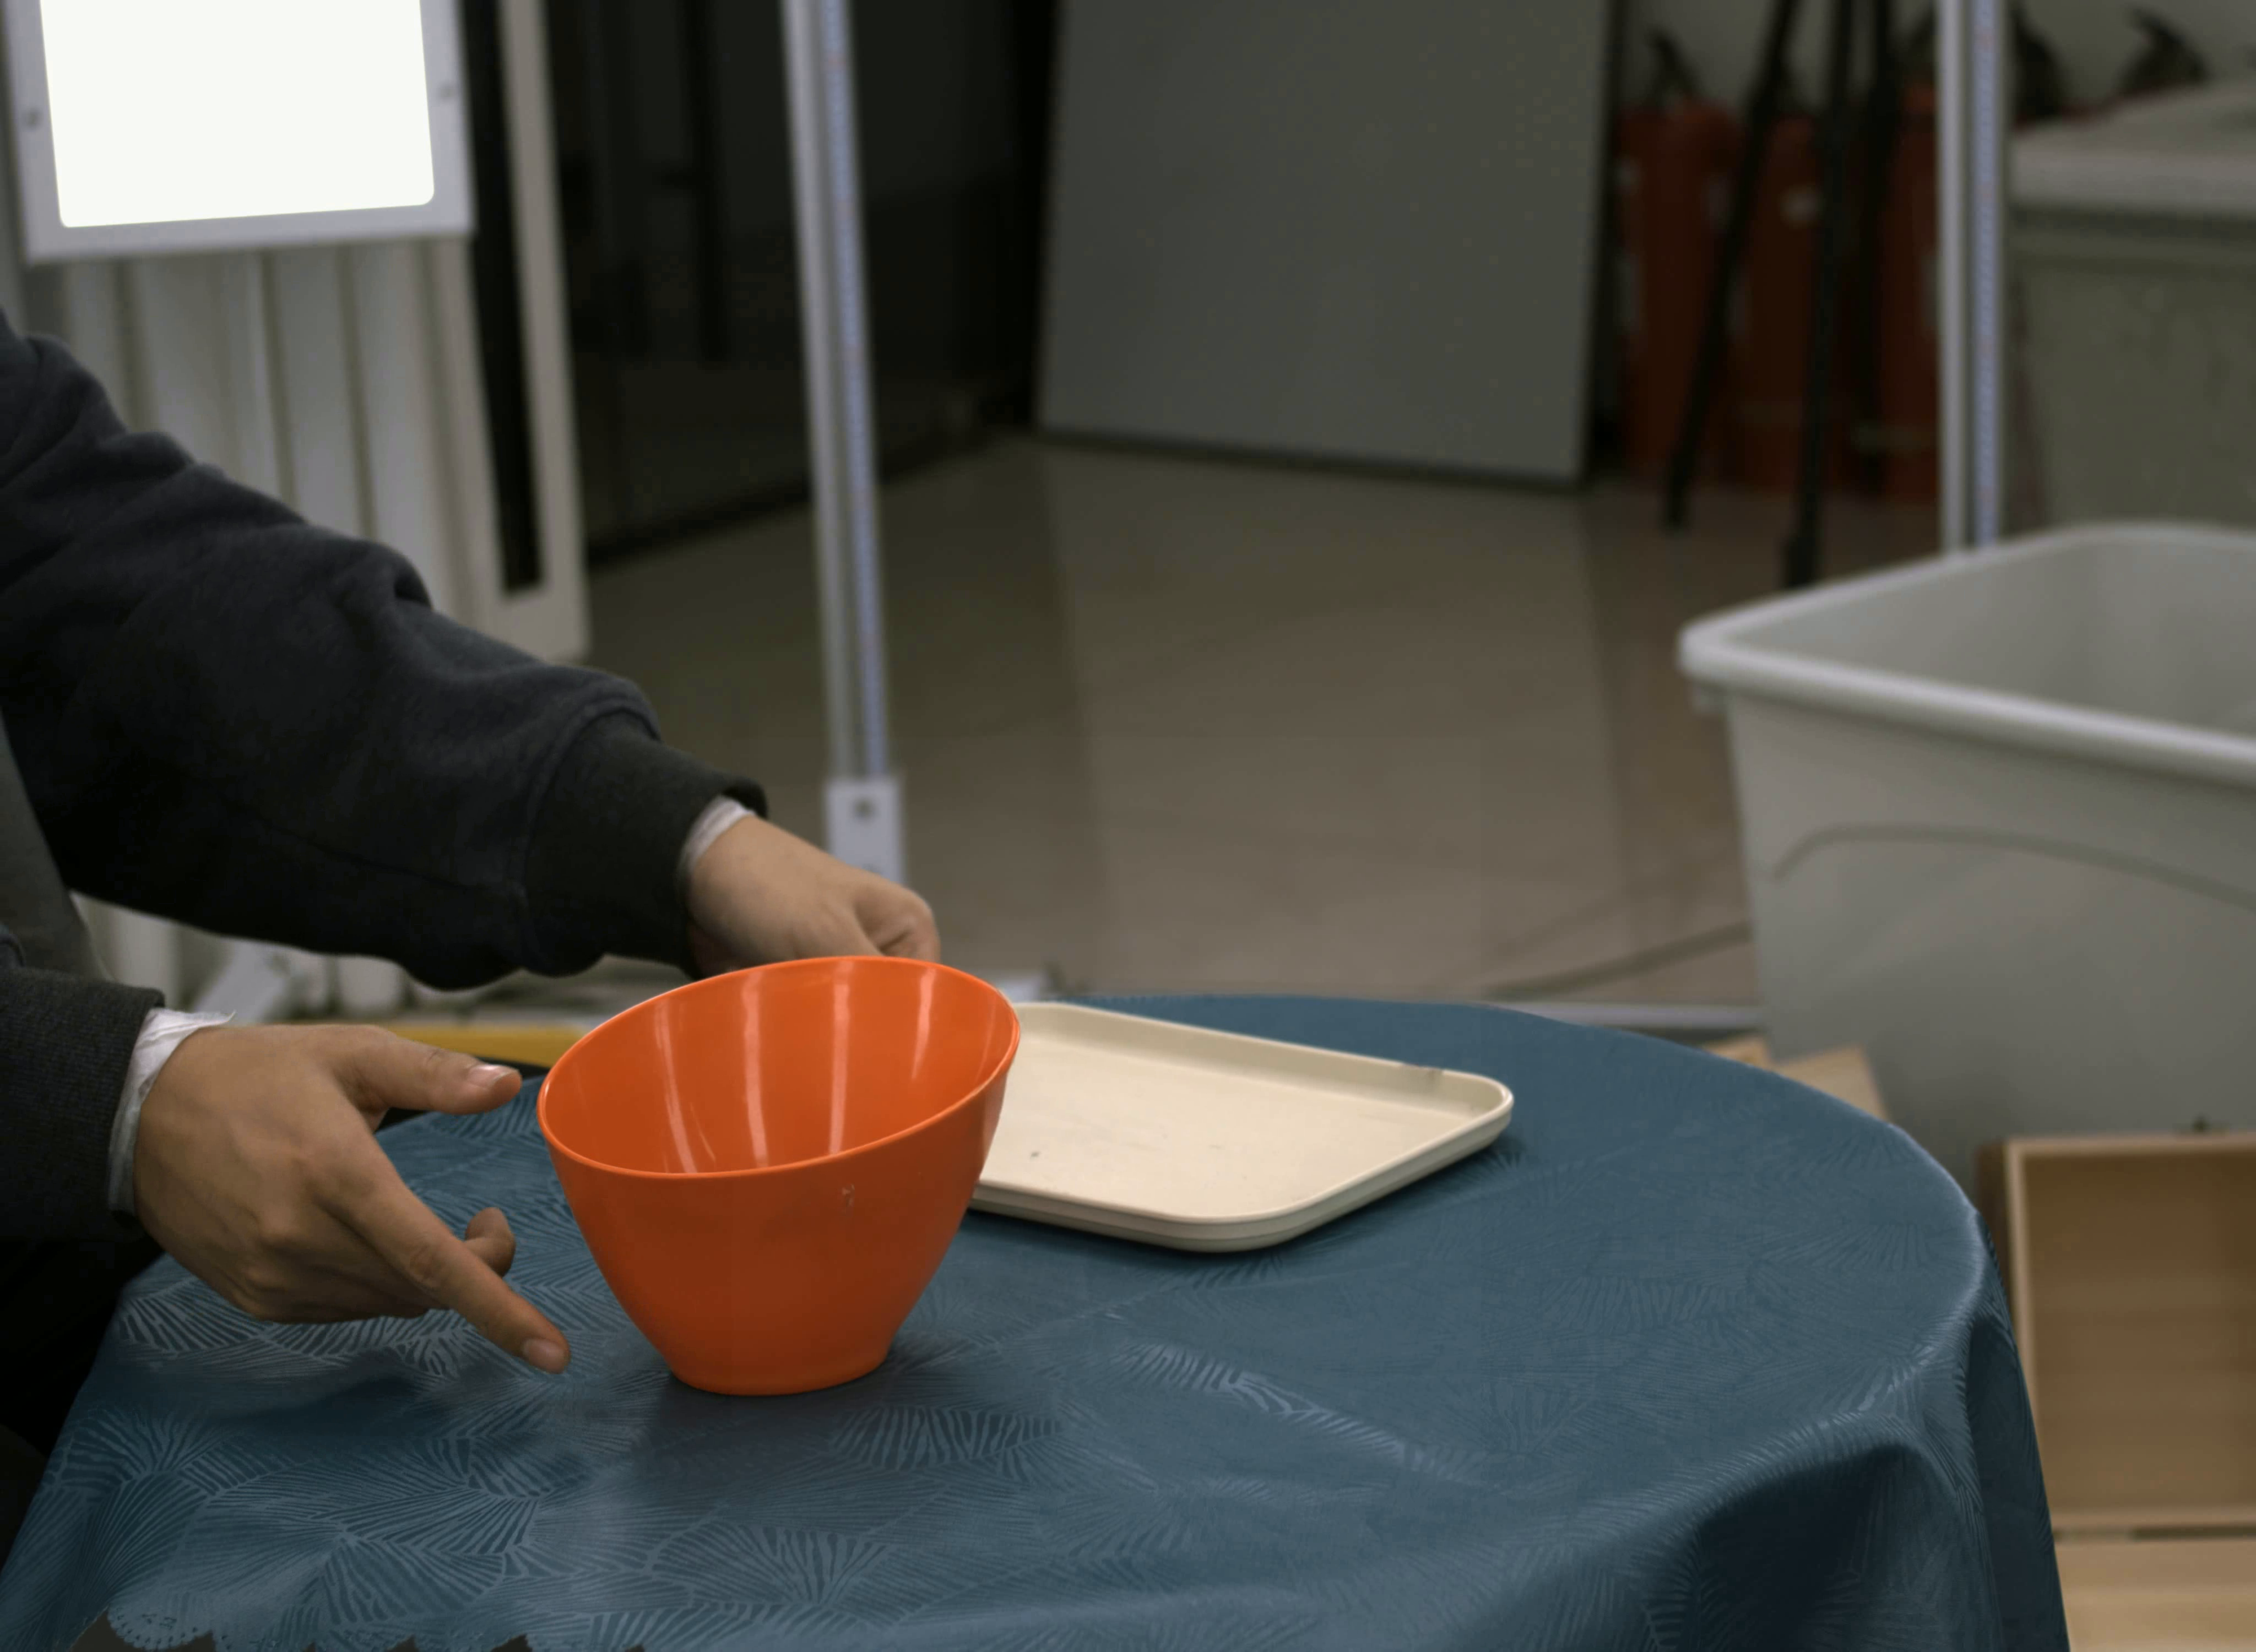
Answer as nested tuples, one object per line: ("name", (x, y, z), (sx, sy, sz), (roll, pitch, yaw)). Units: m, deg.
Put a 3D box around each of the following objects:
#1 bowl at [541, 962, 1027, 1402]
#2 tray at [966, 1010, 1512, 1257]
("bowl", (-0.102, 0.110, 1.628), (0.146, 0.106, 0.148), (-2, 13, 0))
("tray", (-0.003, 0.102, 1.811), (0.241, 0.017, 0.168), (7, 18, 39))
